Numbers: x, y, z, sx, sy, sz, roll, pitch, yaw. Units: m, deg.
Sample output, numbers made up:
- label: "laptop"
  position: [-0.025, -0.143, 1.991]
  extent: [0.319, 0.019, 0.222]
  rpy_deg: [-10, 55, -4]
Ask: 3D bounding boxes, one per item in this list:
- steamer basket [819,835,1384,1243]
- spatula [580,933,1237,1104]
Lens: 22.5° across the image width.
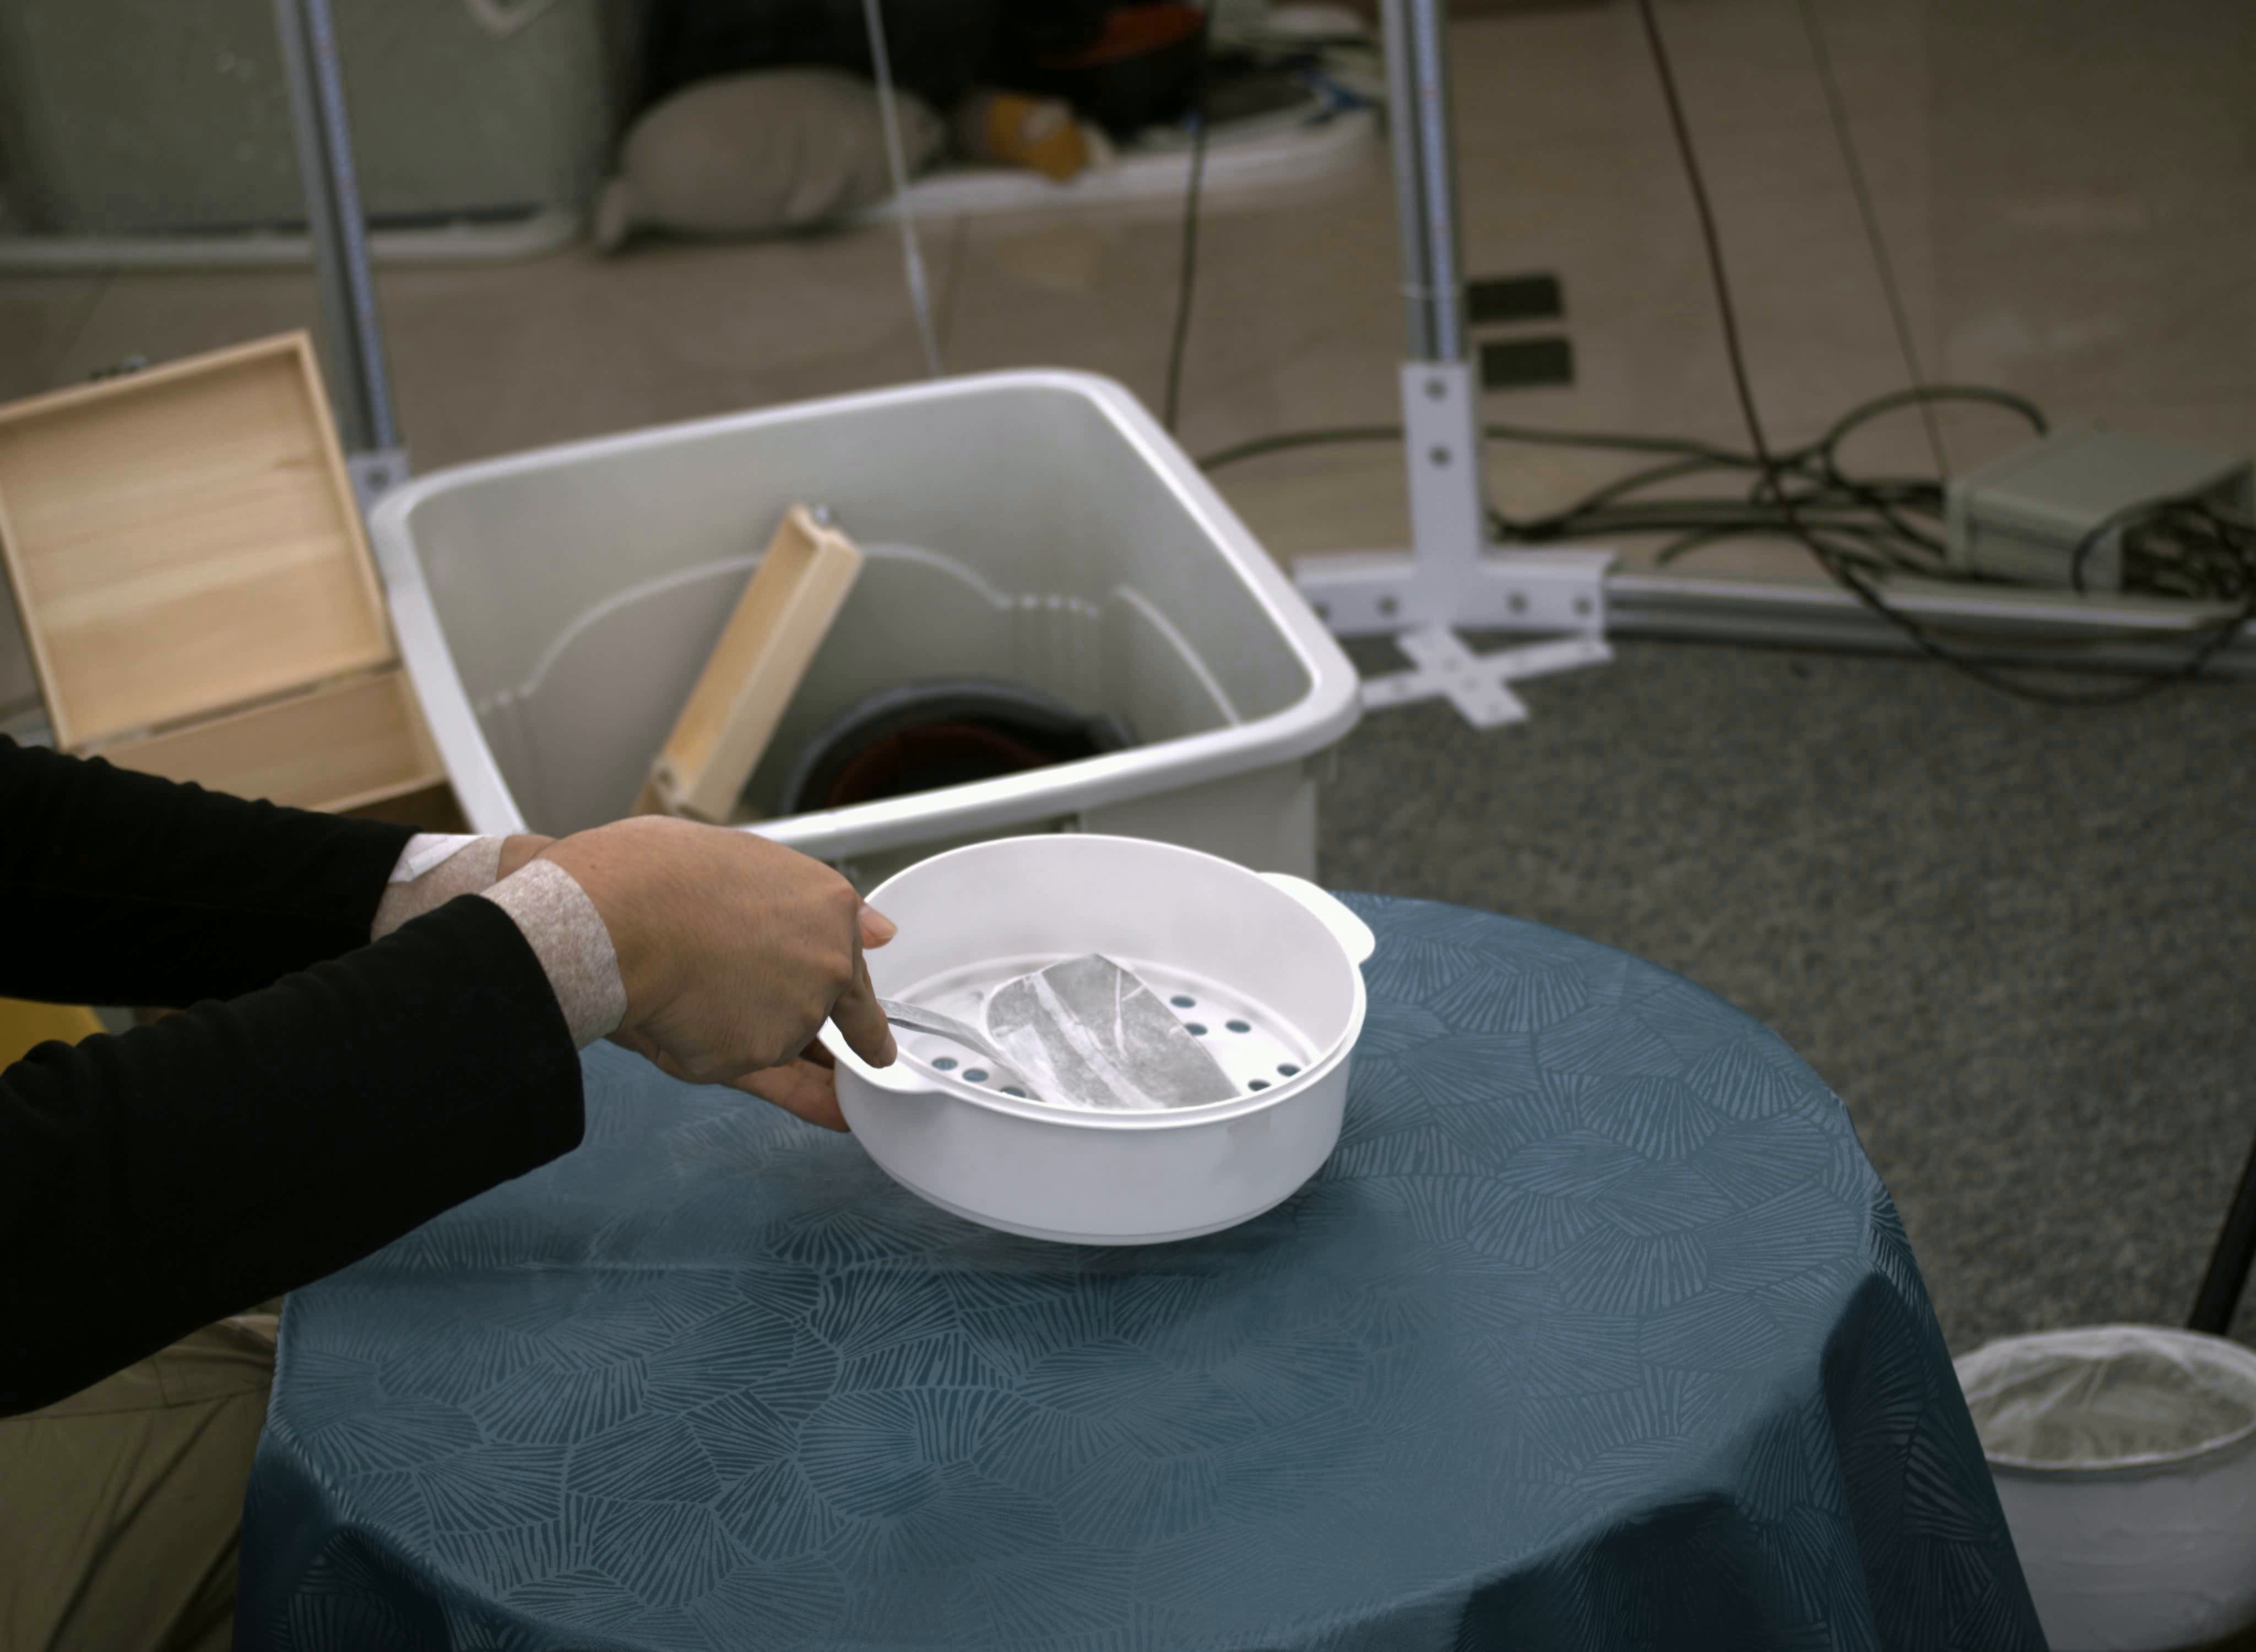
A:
- label: "steamer basket"
  position: [-0.010, 0.081, 2.137]
  extent: [0.229, 0.070, 0.199]
  rpy_deg: [-15, 36, -30]
- label: "spatula"
  position: [-0.074, 0.064, 2.024]
  extent: [0.097, 0.045, 0.367]
  rpy_deg: [52, 16, 26]
